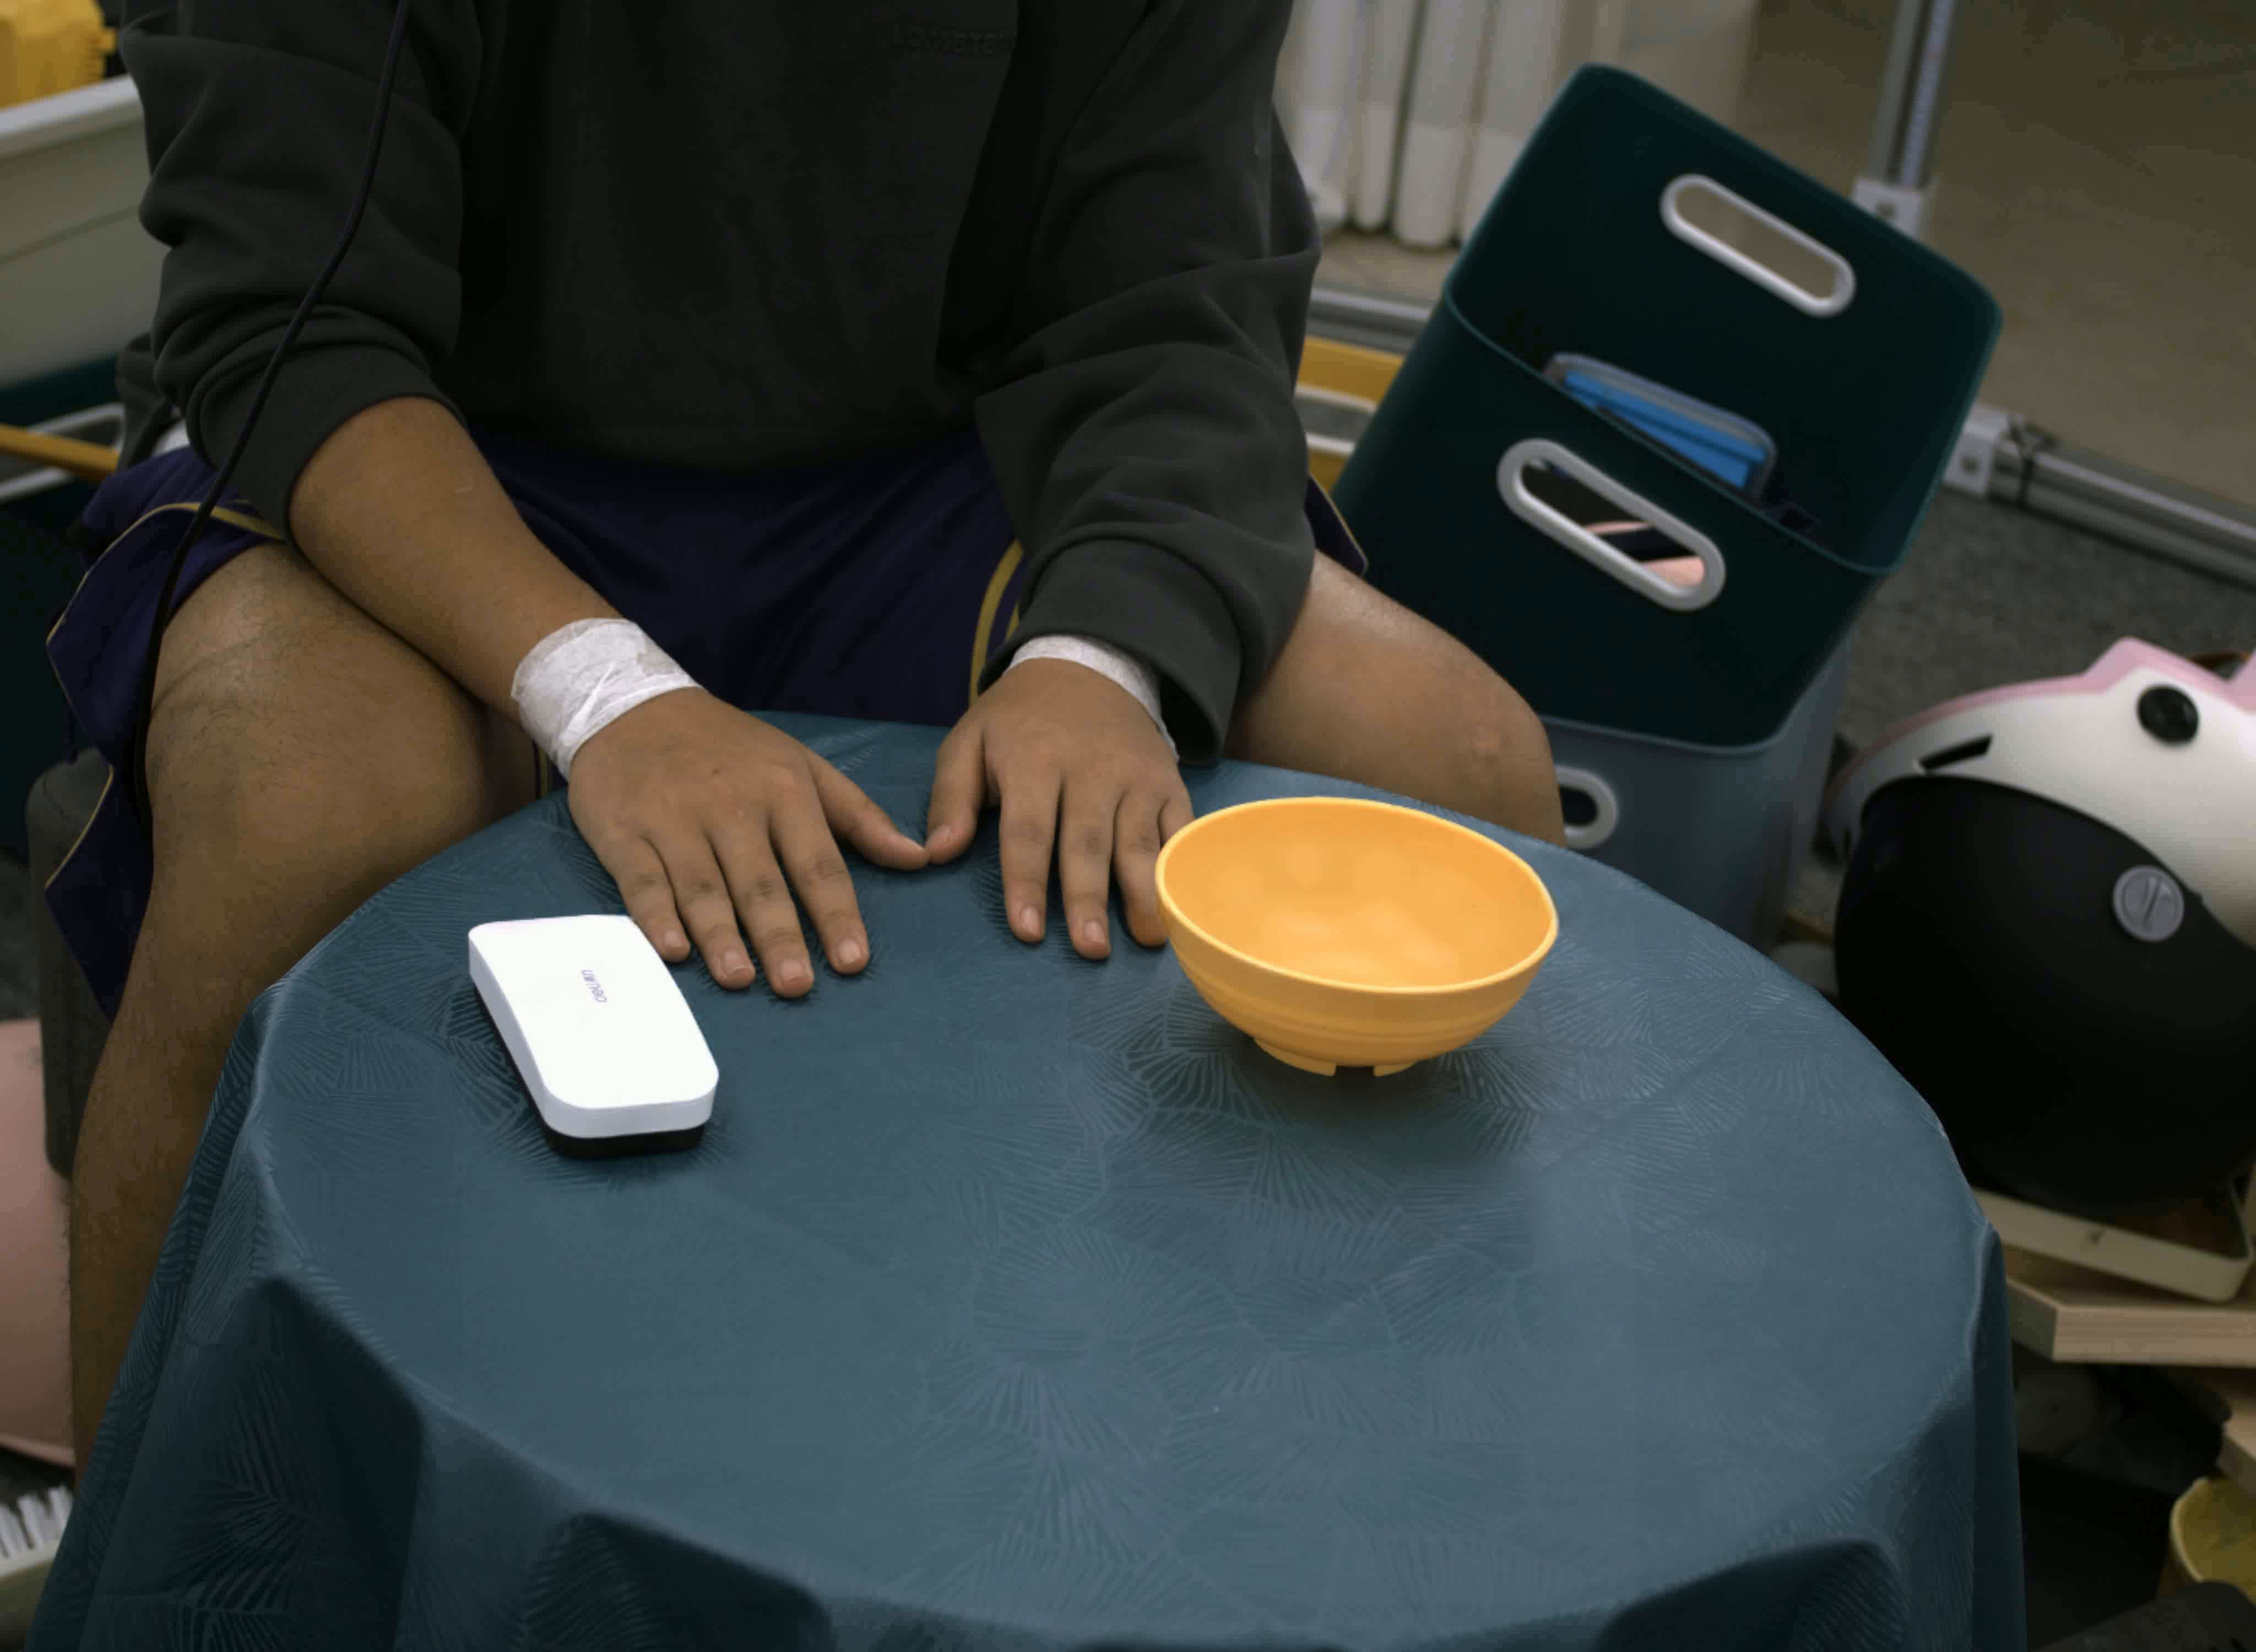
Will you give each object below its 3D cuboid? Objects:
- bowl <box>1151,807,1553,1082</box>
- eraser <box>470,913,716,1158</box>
[{"bbox_3d":[0.076,0.051,1.902,0.145,0.060,0.146,6,25,-3],"label":"bowl"},{"bbox_3d":[-0.185,0.068,1.834,0.063,0.034,0.132,-3,29,-20],"label":"eraser"}]
